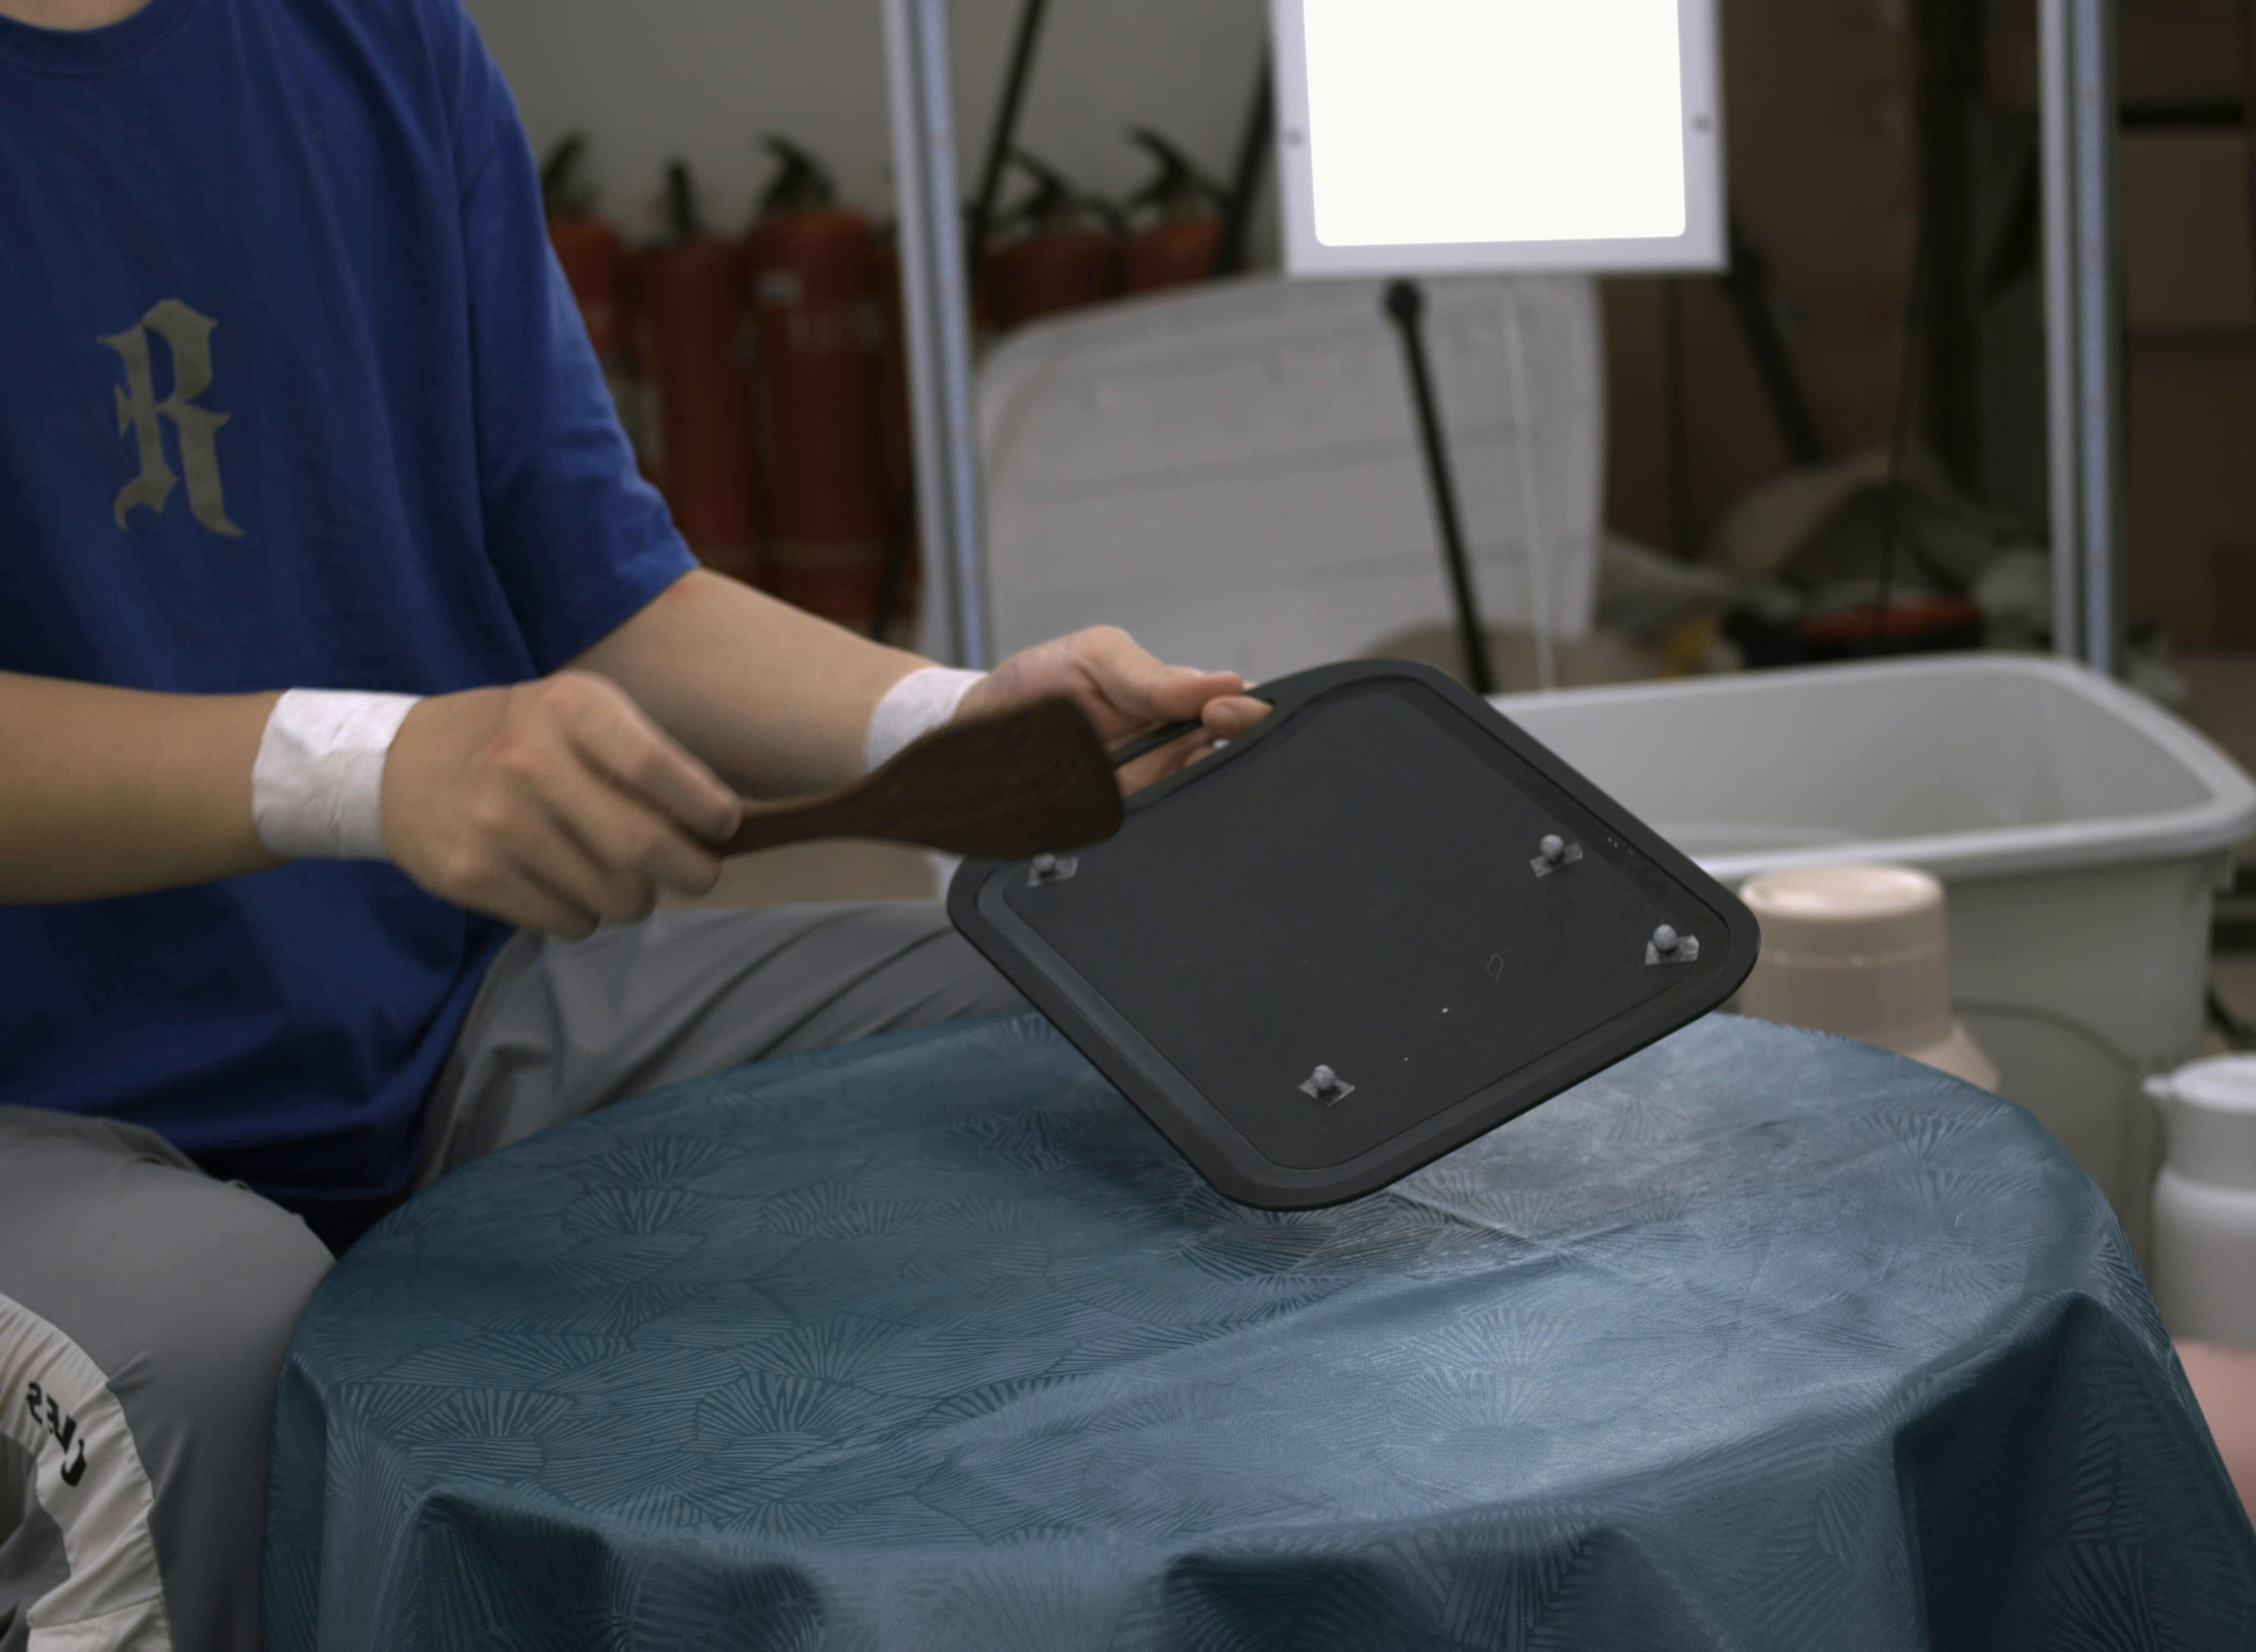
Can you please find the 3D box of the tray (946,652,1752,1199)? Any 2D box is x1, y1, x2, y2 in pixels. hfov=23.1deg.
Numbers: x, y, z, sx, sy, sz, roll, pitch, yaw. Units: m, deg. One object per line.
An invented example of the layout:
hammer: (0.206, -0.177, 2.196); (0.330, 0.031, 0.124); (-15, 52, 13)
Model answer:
tray: (0.067, 0.025, 1.935); (0.209, 0.010, 0.329); (-28, 32, -12)

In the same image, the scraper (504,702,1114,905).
scraper: (-0.110, 0.001, 1.853); (0.214, 0.075, 0.011); (-10, 47, 17)
